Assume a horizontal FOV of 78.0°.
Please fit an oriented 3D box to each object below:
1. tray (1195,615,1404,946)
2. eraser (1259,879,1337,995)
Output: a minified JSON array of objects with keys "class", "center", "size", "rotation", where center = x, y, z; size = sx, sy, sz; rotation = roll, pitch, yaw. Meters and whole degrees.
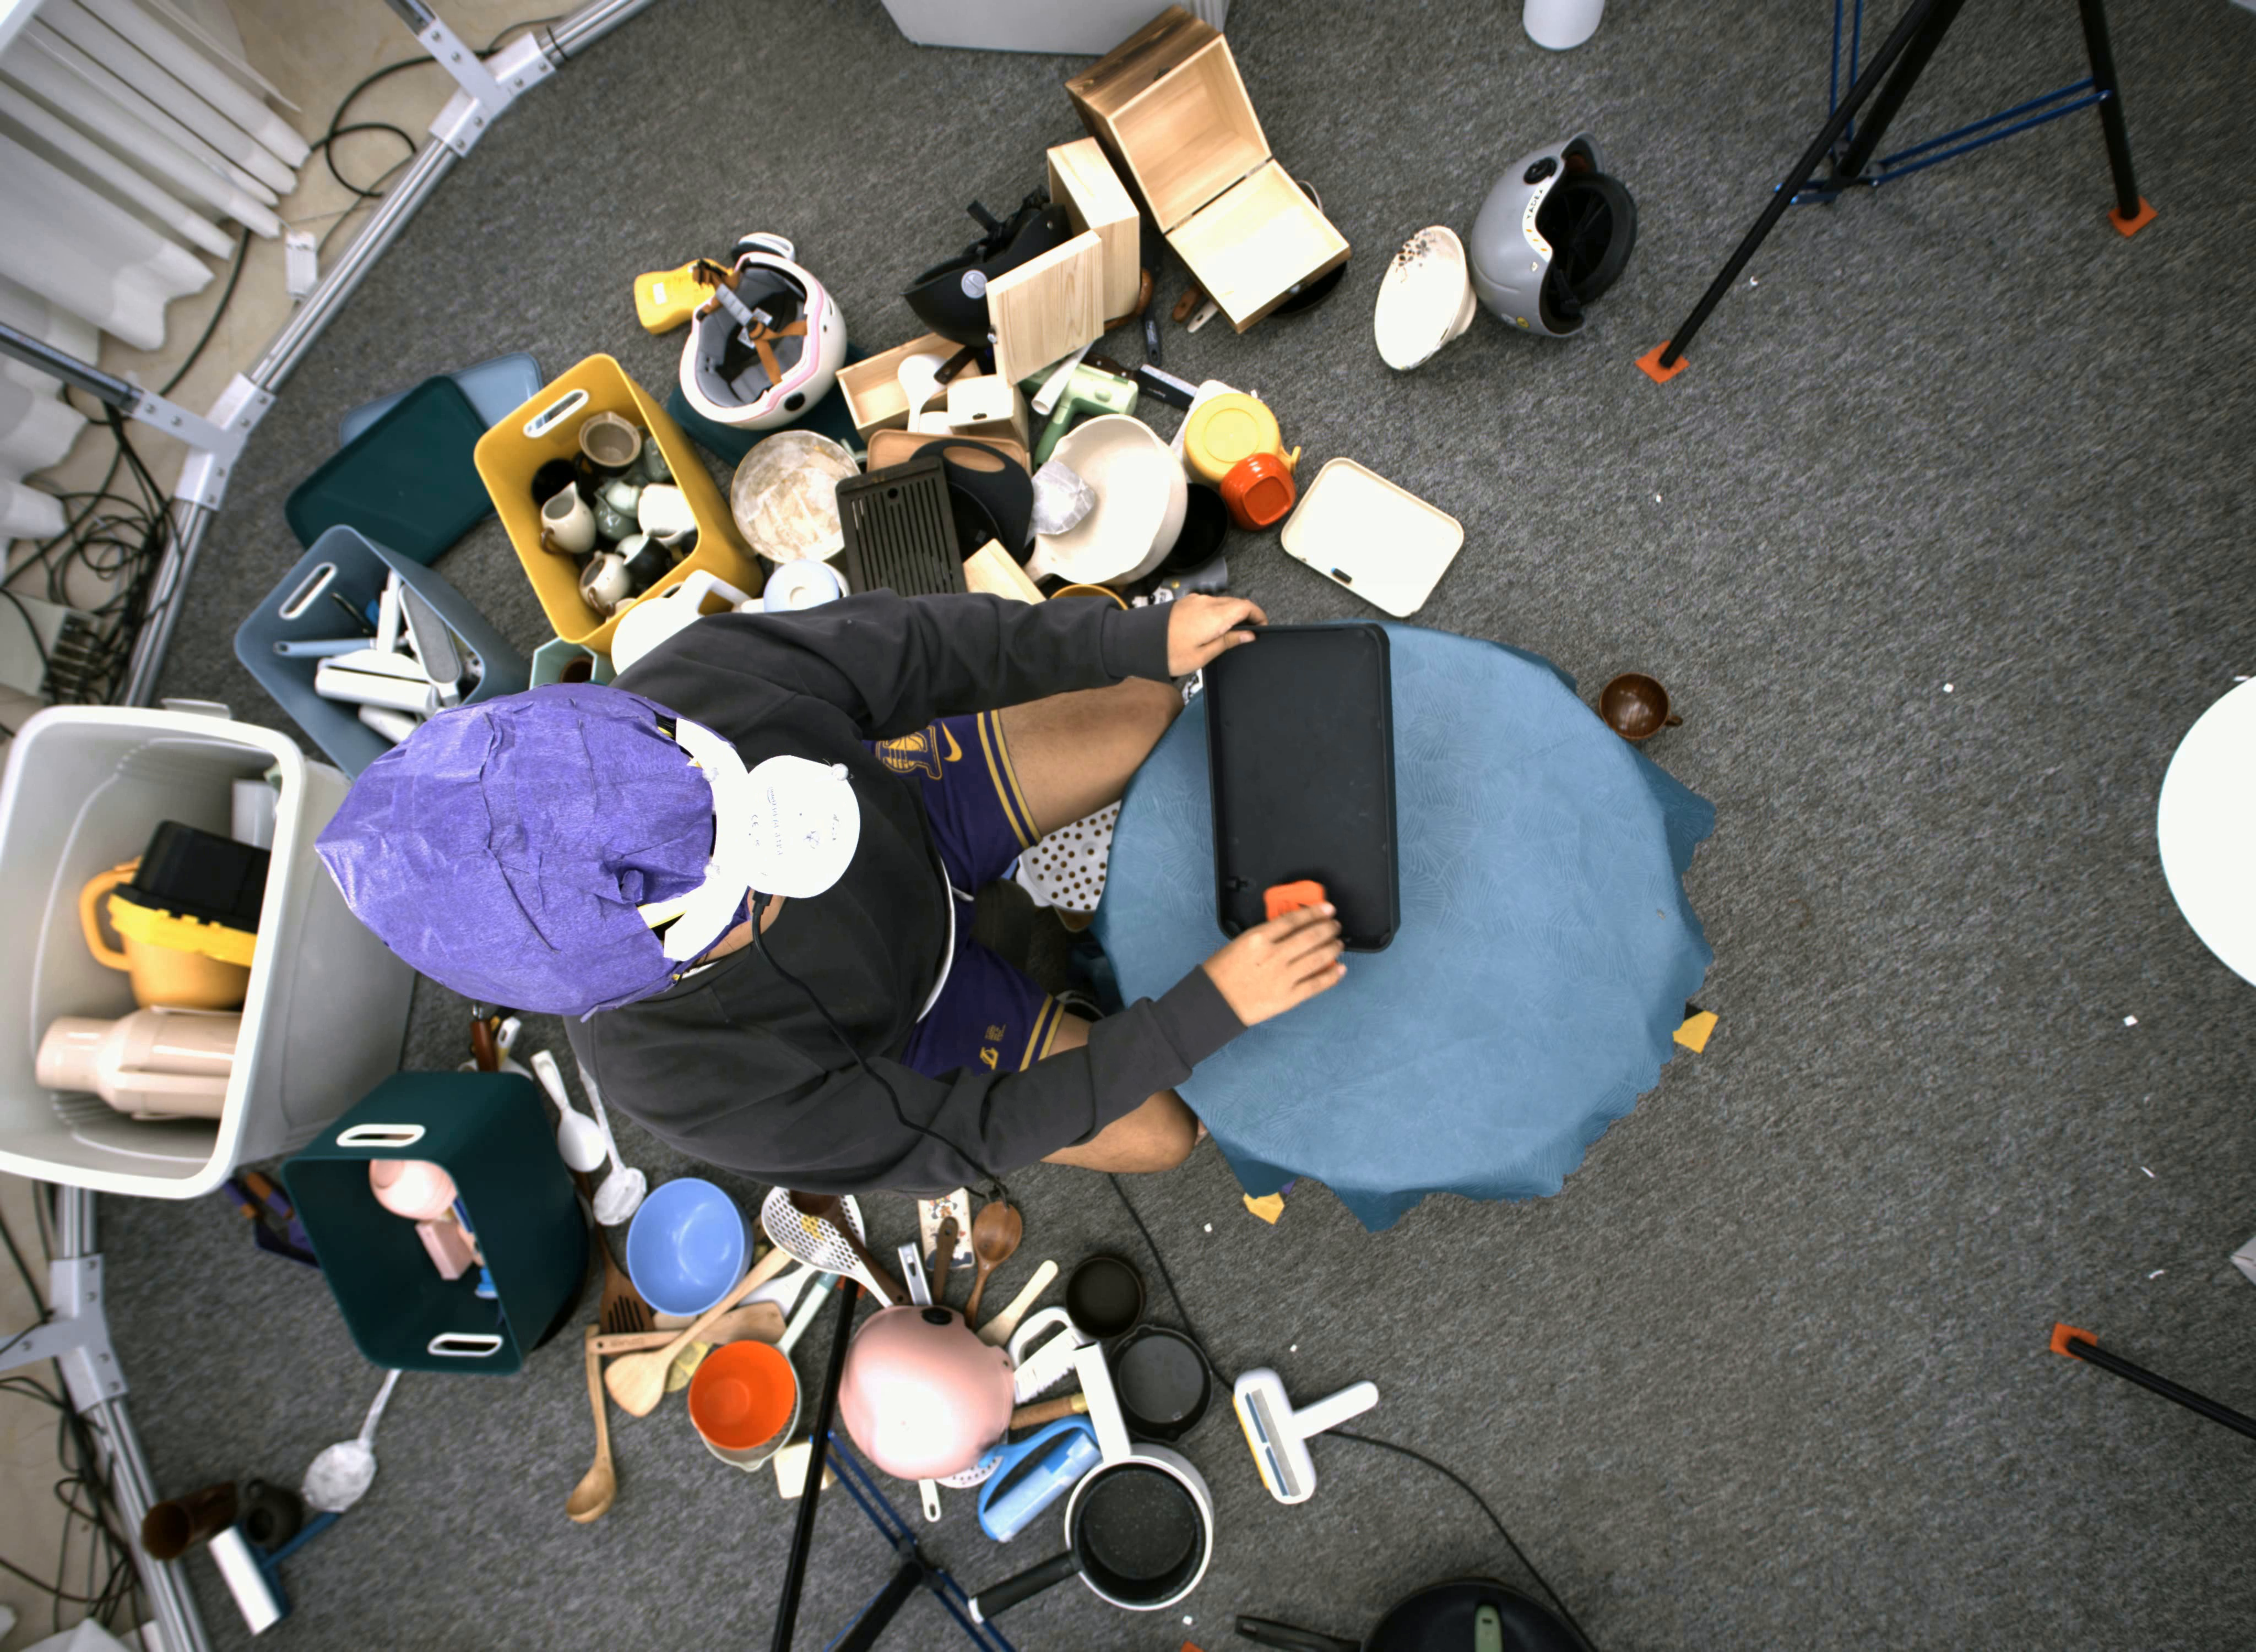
[{"class":"tray","center":[0.168,-0.044,1.334],"size":[0.185,0.036,0.322],"rotation":[2,108,29]},{"class":"eraser","center":[0.166,0.107,1.350],"size":[0.060,0.023,0.107],"rotation":[-15,81,34]}]
